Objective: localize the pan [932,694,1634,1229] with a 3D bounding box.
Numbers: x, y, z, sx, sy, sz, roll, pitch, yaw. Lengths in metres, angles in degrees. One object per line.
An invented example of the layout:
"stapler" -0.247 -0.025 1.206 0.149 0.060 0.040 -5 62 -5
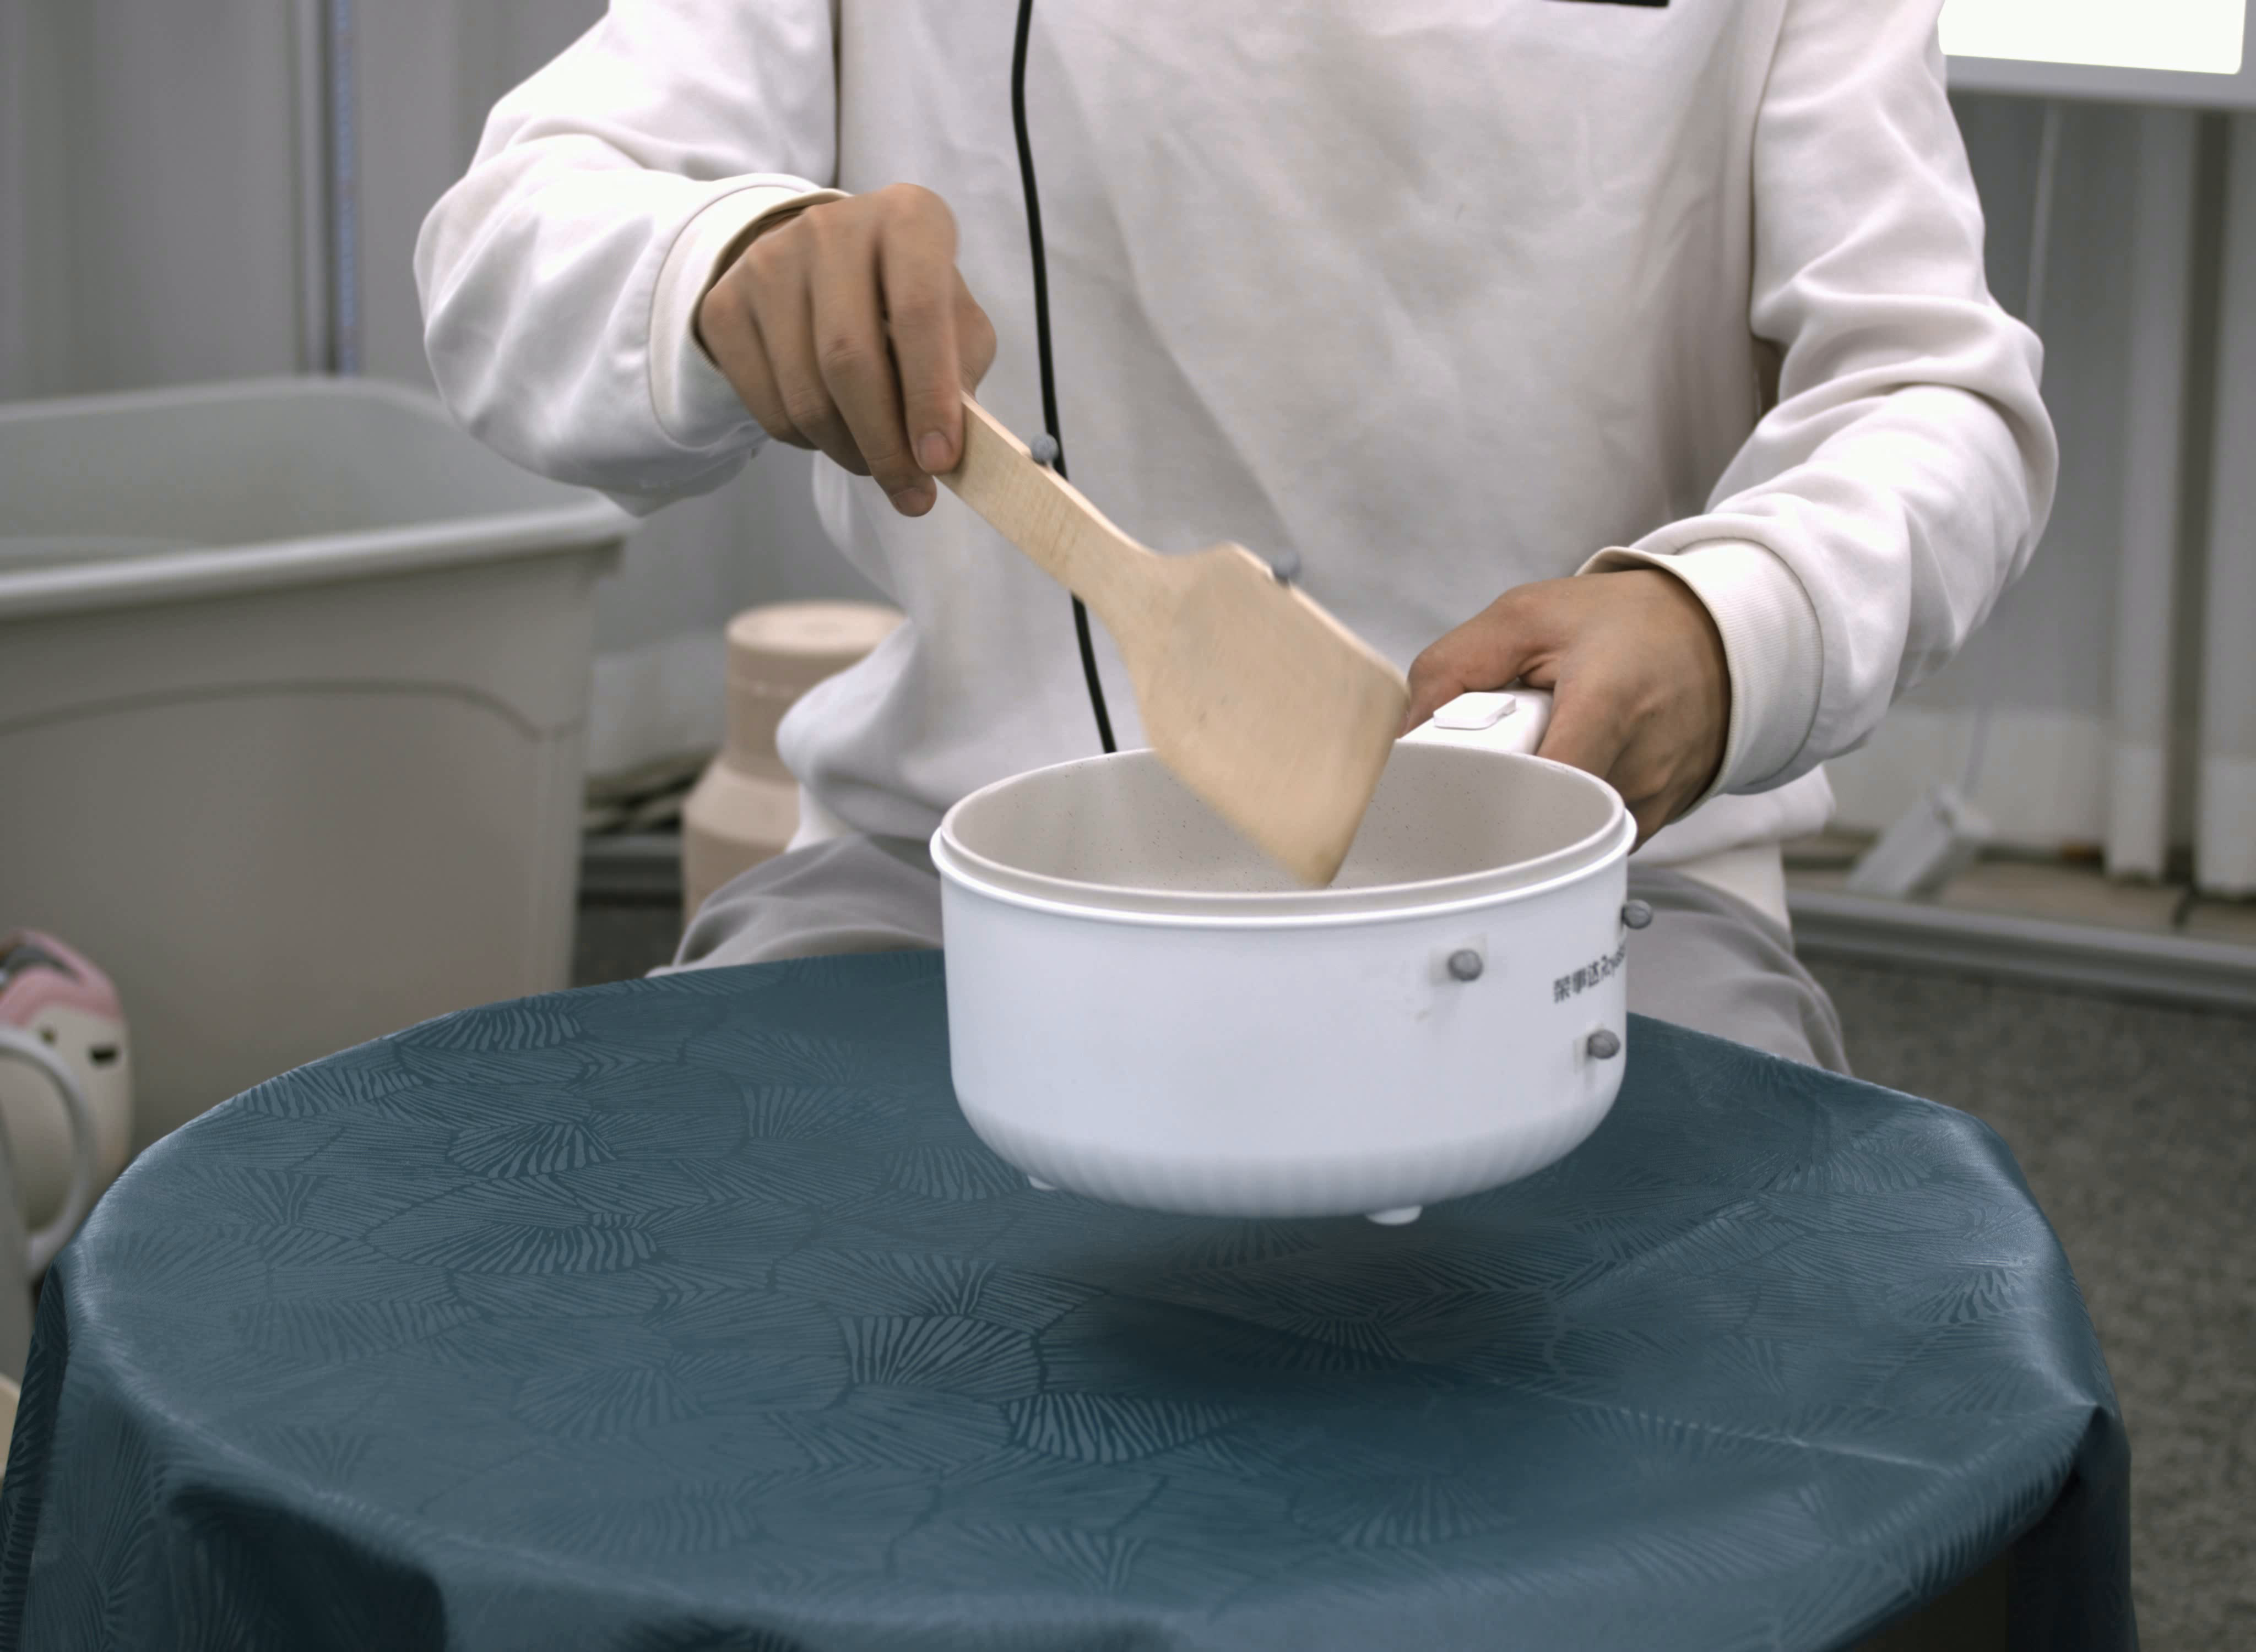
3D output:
"pan" 0.077 0.036 1.579 0.199 0.103 0.356 0 11 24
